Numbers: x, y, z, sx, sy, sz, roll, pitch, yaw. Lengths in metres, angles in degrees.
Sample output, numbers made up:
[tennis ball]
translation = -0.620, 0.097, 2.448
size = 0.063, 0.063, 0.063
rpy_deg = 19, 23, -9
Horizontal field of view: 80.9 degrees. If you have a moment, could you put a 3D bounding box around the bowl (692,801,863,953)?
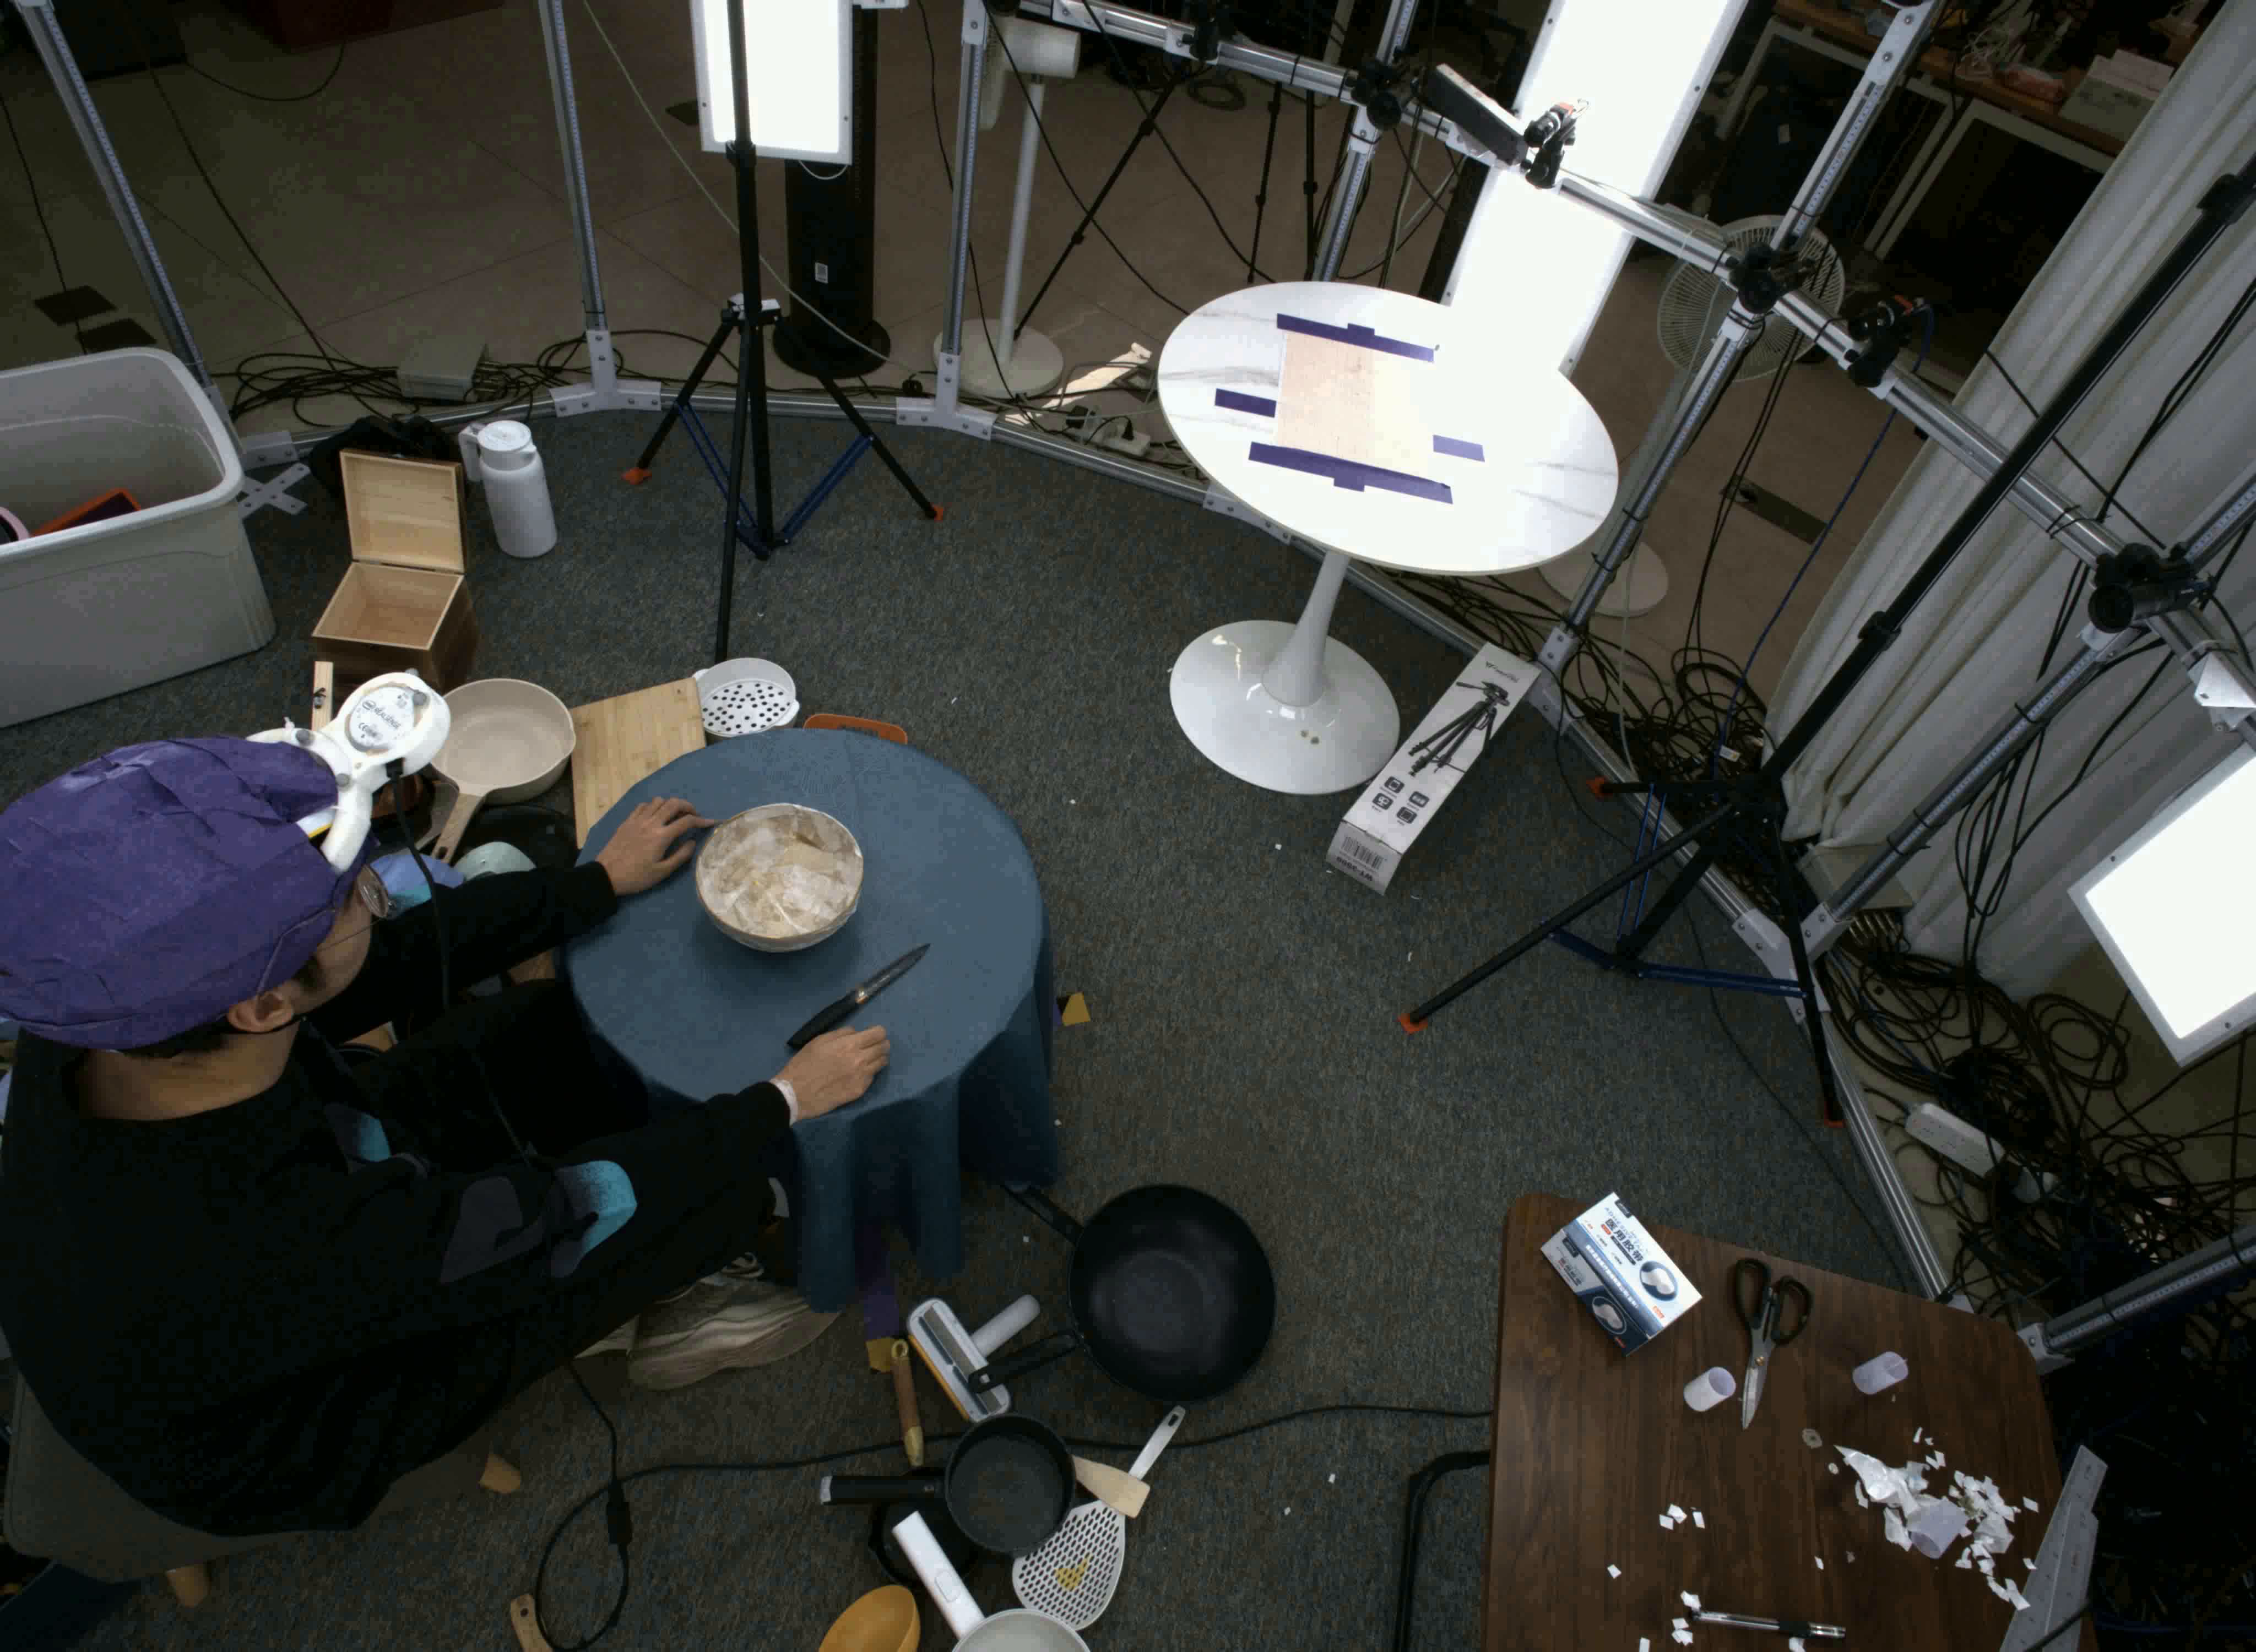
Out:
[bowl]
translation = -0.431, 0.078, 1.592
size = 0.214, 0.096, 0.211
rpy_deg = 9, 52, -10

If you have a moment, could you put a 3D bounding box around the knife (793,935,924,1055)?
[knife]
translation = -0.323, 0.201, 1.584
size = 0.025, 0.018, 0.225
rpy_deg = 33, 51, 21
